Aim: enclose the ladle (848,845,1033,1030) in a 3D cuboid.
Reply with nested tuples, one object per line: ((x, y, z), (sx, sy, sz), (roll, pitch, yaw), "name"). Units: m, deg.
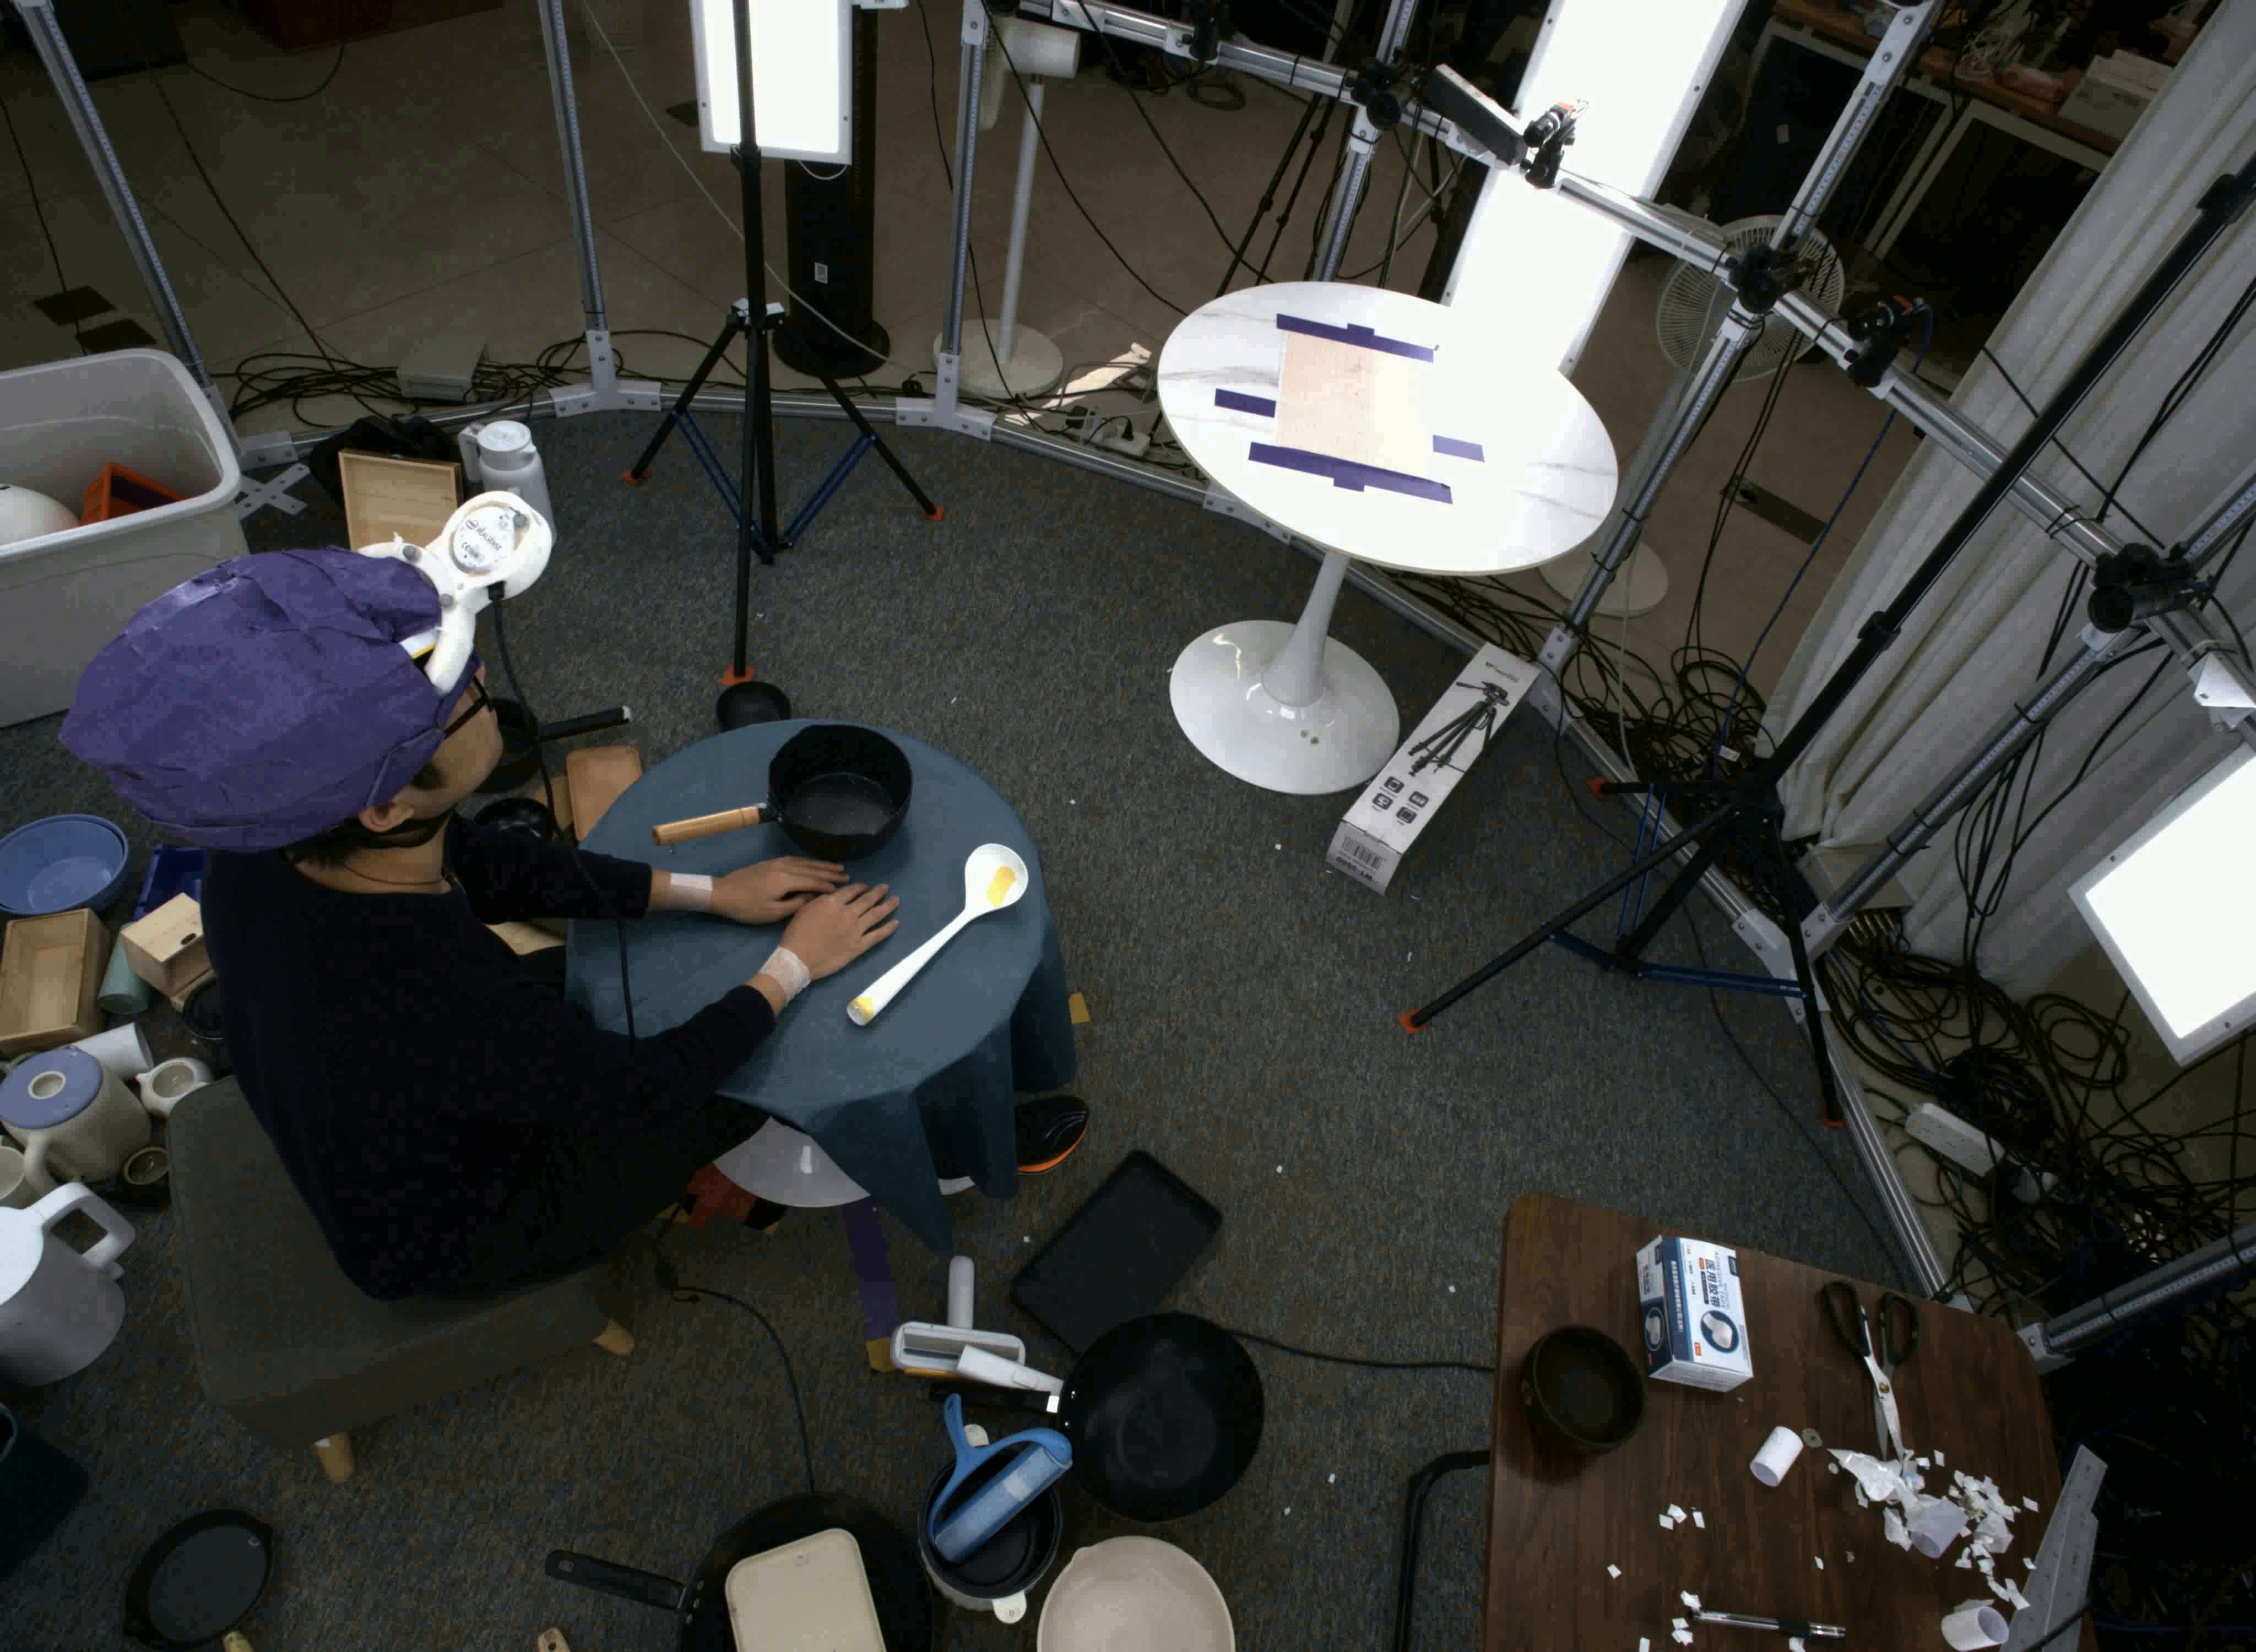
((-0.234, 0.137, 1.621), (0.089, 0.071, 0.293), (40, 55, 10), "ladle")

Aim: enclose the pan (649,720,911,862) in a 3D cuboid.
((-0.441, -0.018, 1.653), (0.344, 0.110, 0.202), (-24, 63, -30), "pan")
